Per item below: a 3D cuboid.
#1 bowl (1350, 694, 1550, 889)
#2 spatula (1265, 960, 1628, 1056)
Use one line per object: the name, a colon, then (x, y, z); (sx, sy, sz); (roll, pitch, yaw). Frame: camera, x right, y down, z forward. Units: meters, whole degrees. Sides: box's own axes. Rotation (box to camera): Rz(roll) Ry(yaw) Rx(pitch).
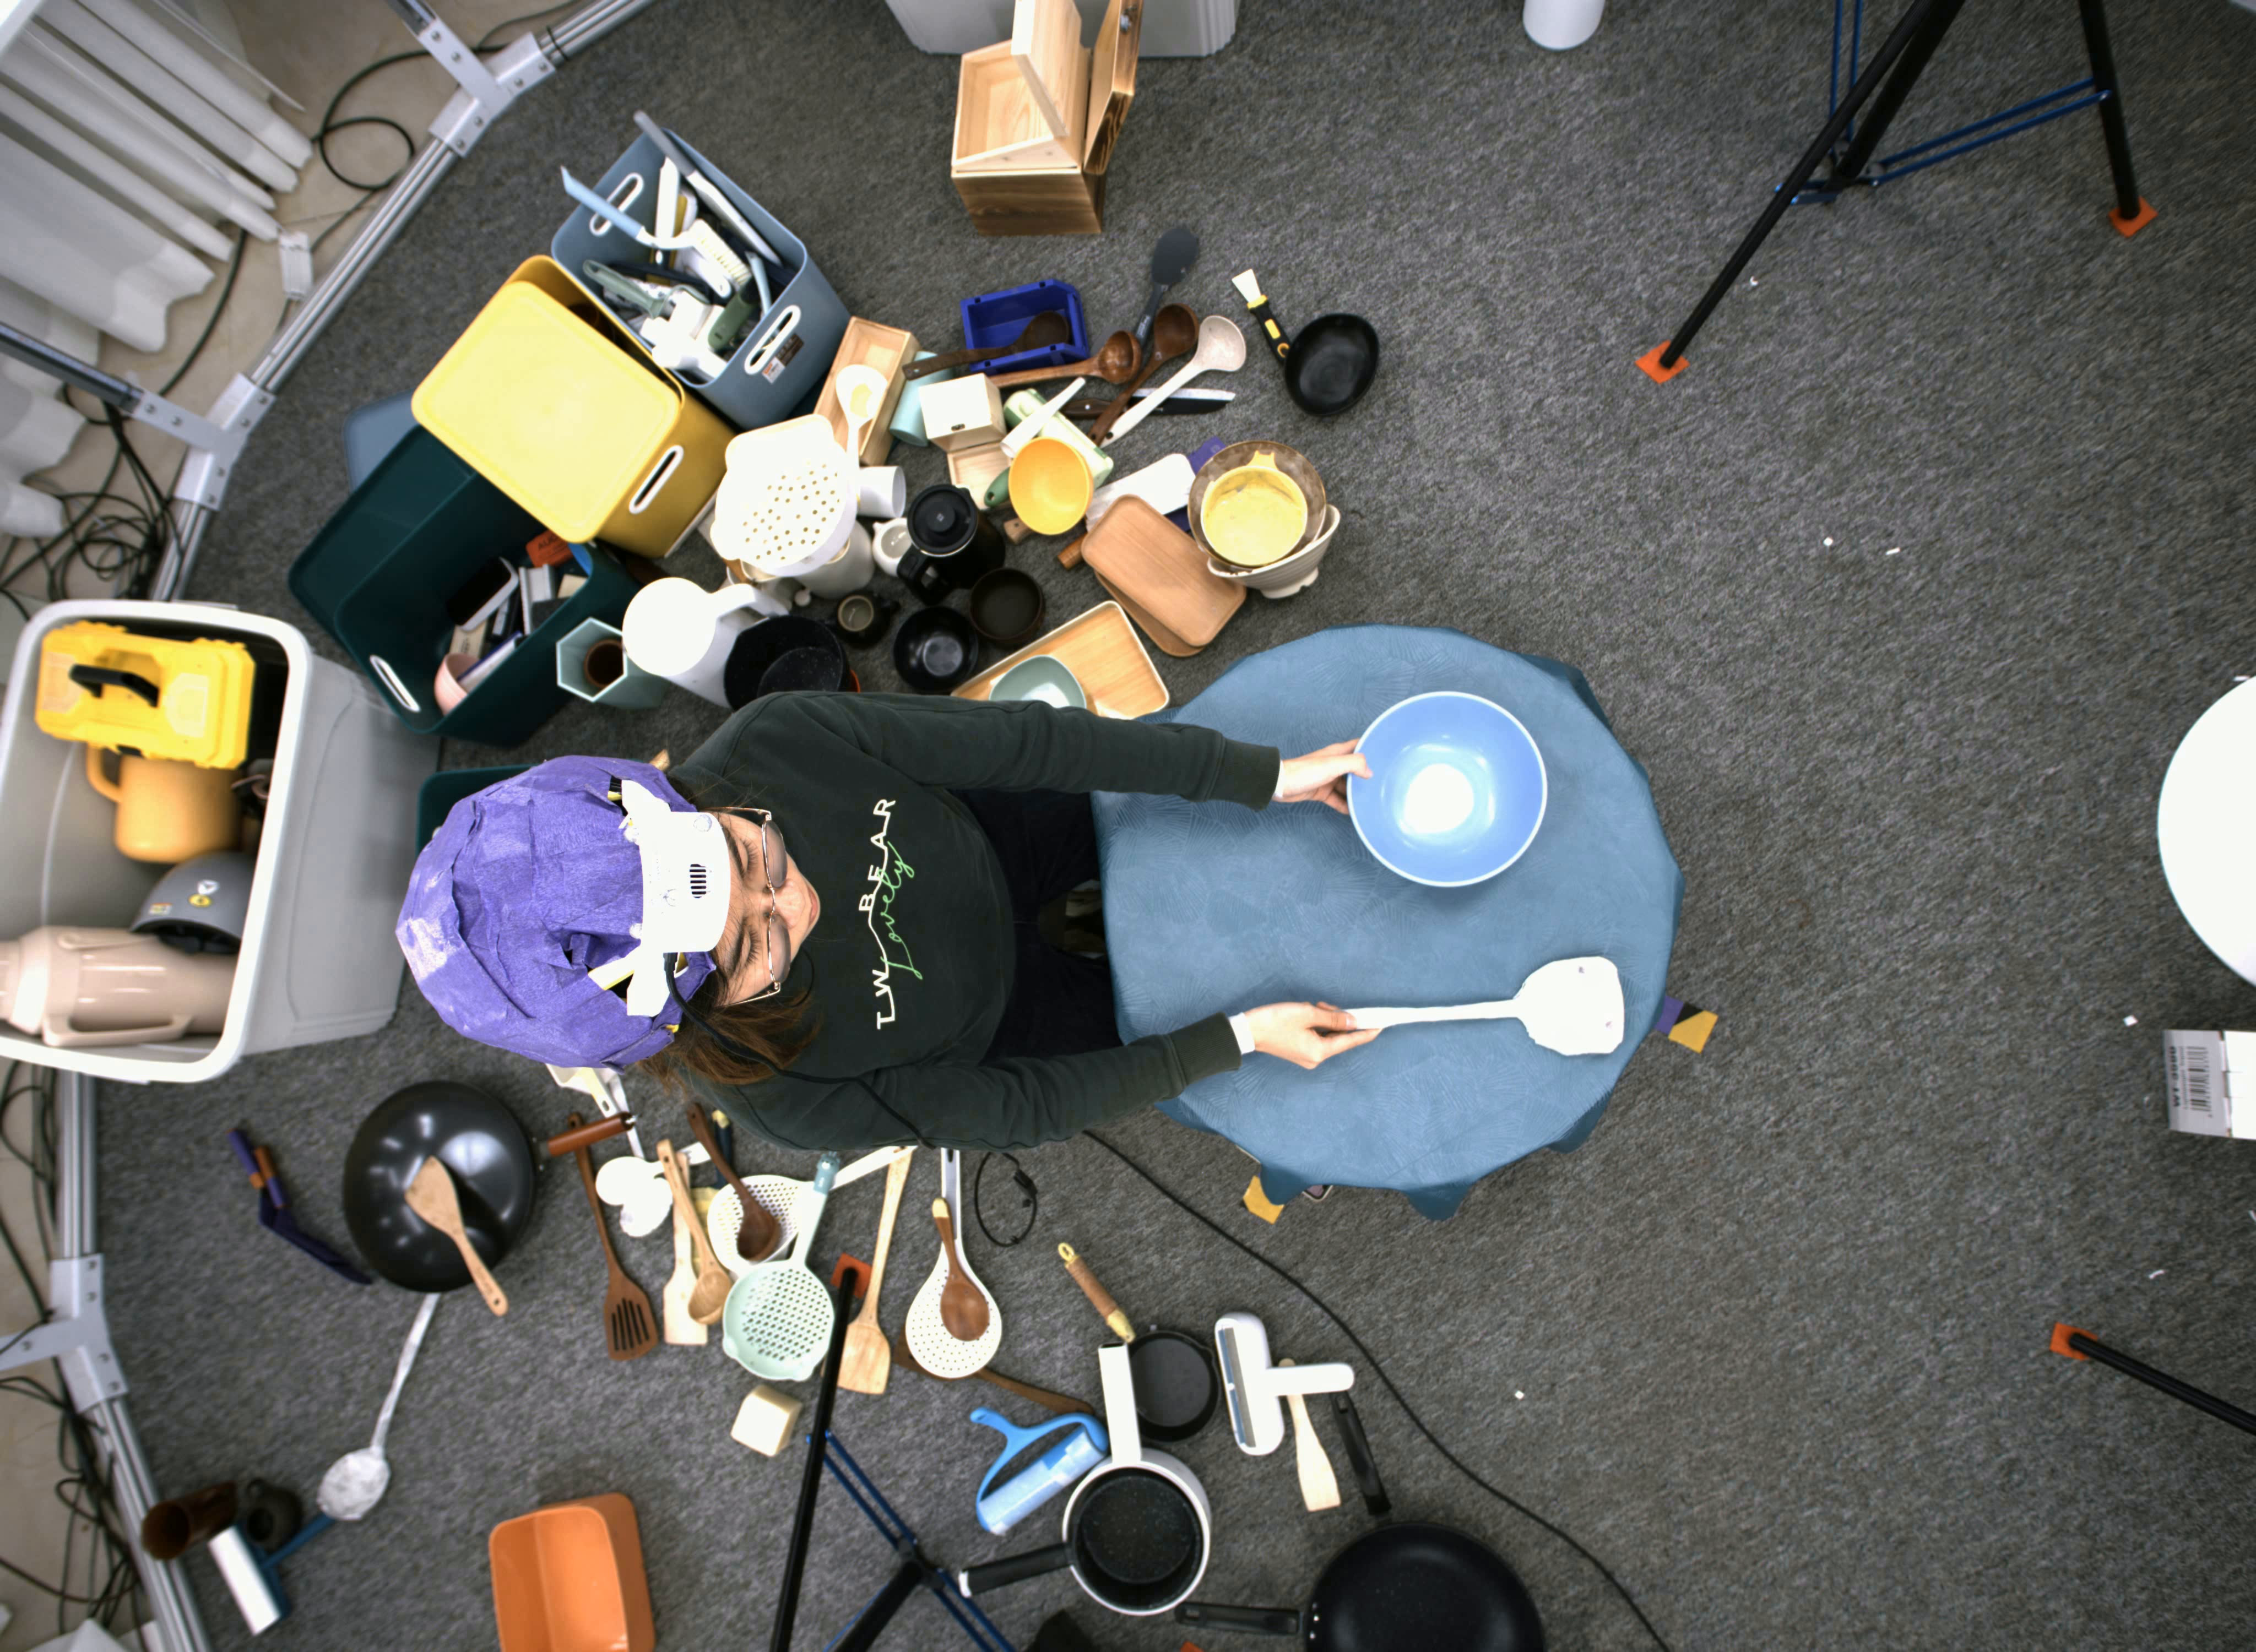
bowl: (0.325, -0.032, 1.412); (0.197, 0.095, 0.195); (-1, 86, 7)
spatula: (0.323, 0.189, 1.415); (0.366, 0.045, 0.098); (-3, 89, 3)
